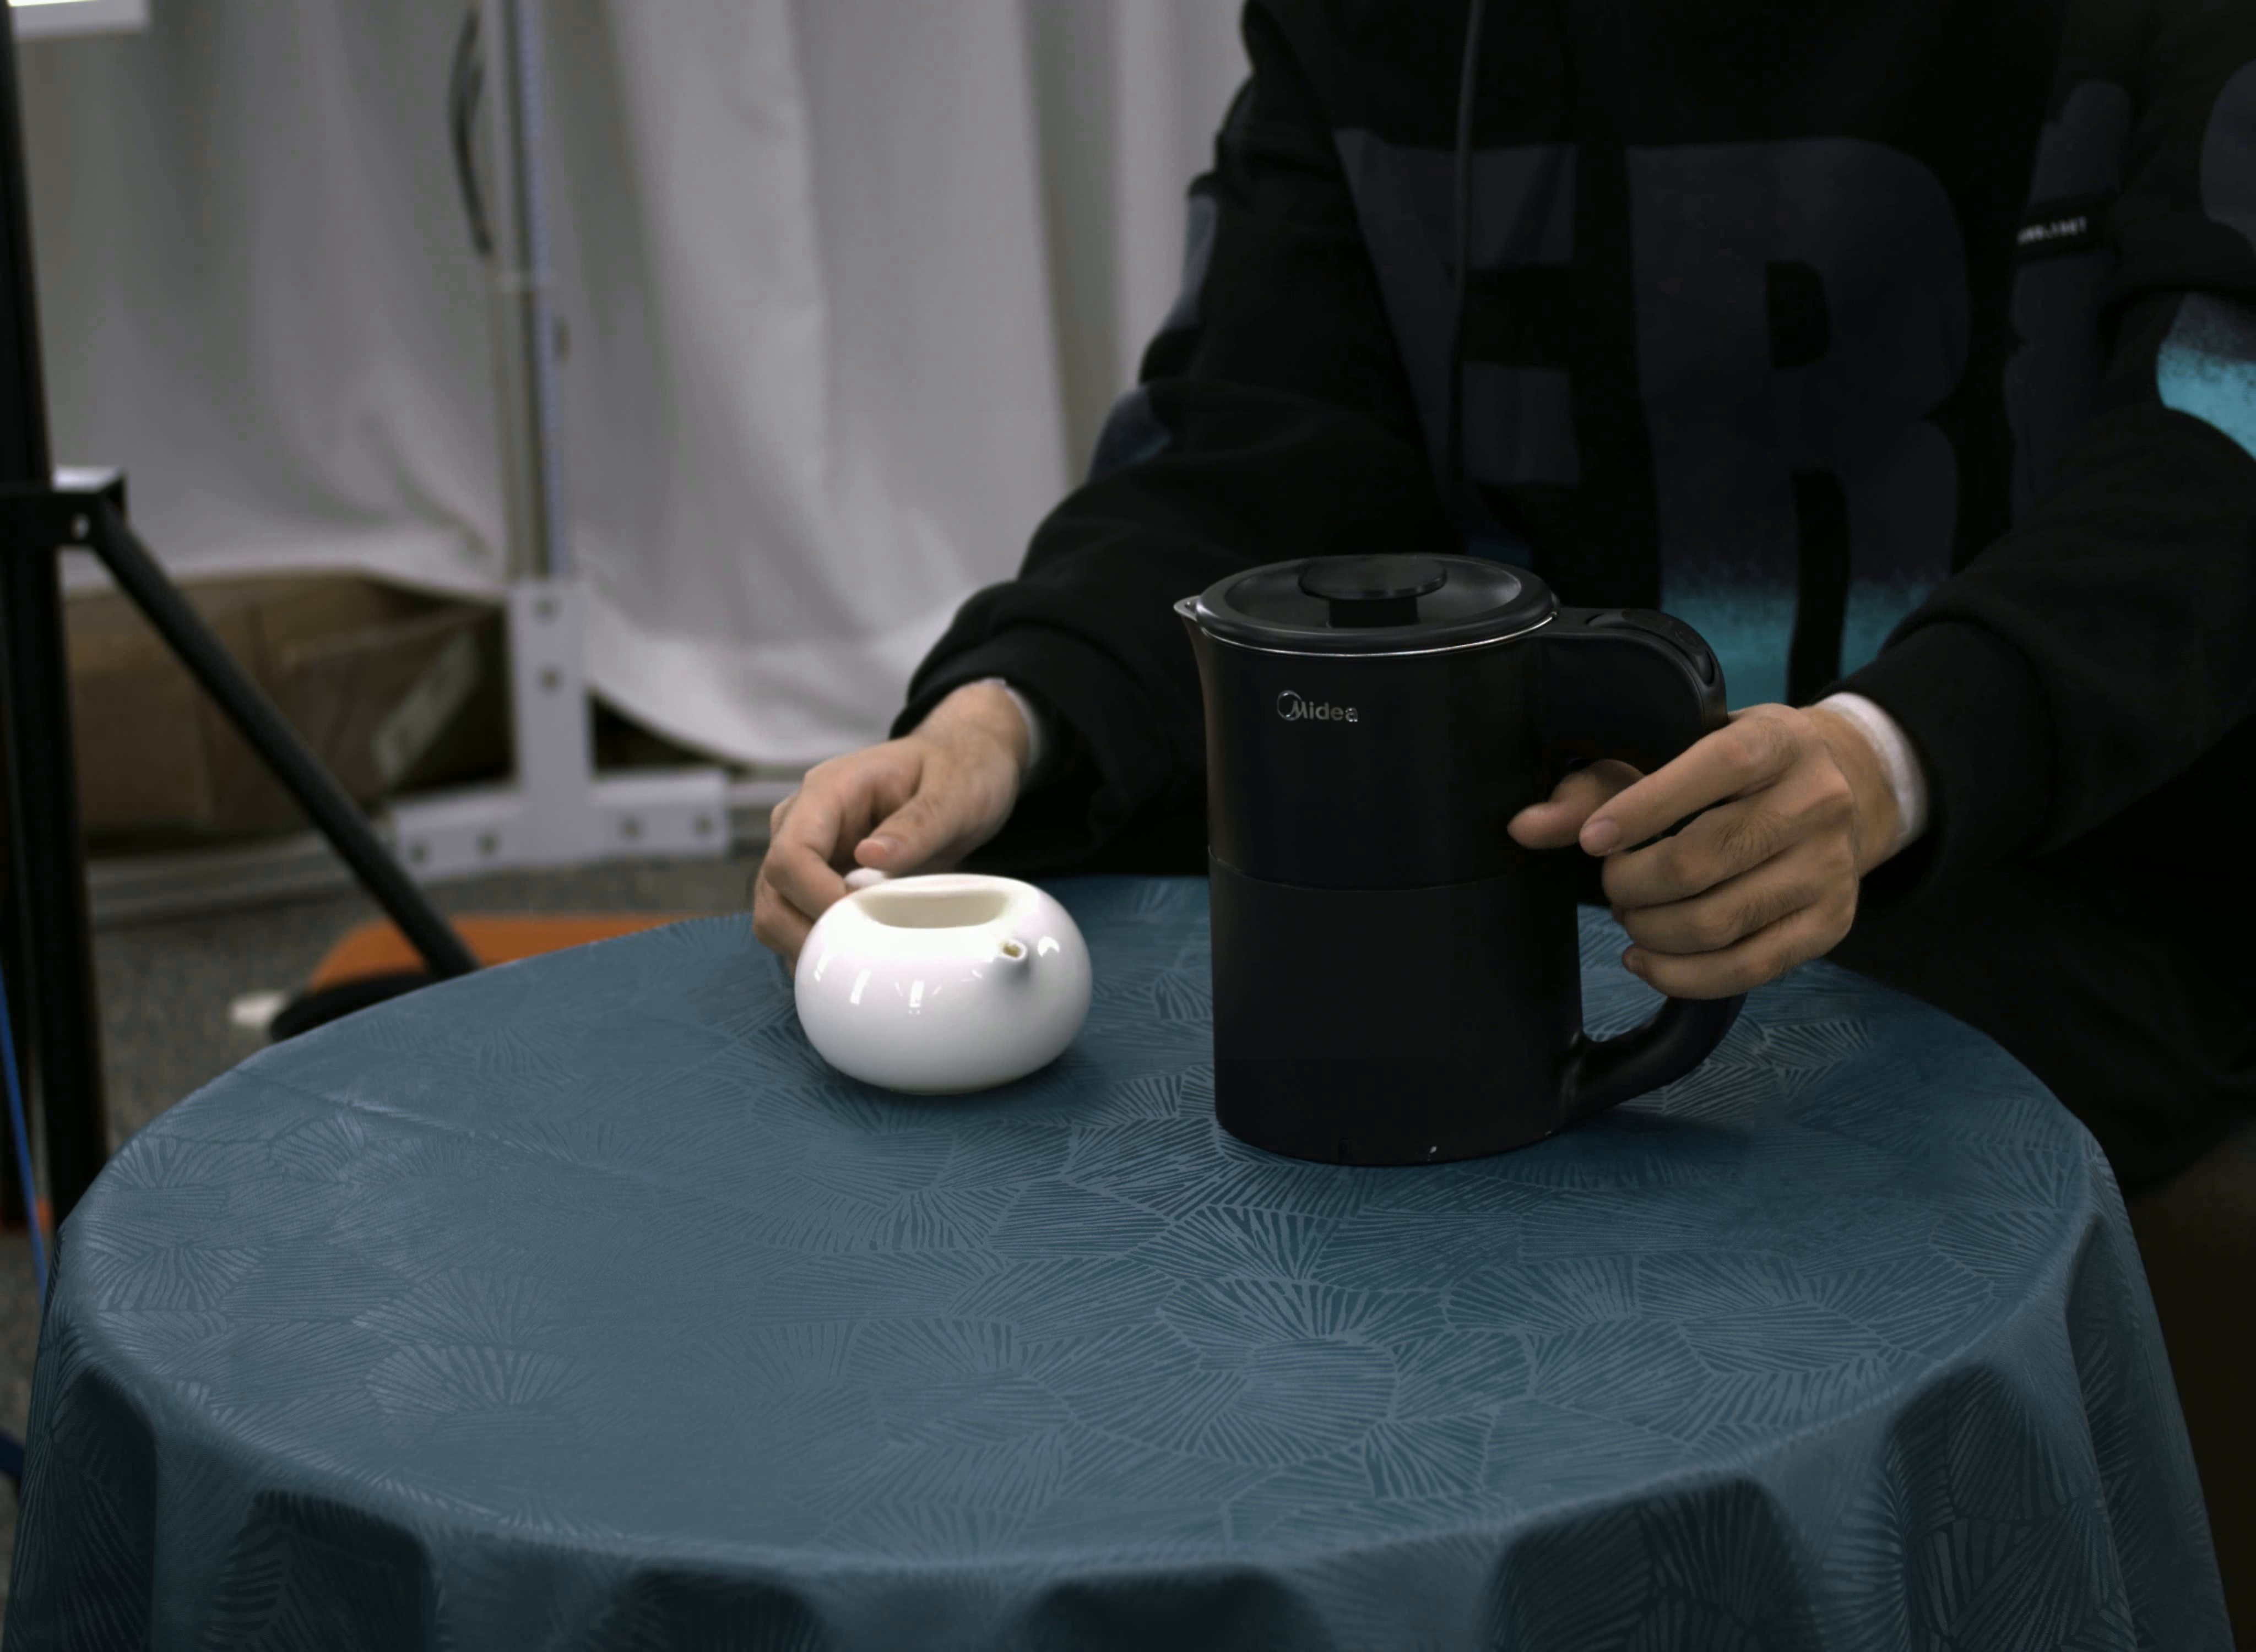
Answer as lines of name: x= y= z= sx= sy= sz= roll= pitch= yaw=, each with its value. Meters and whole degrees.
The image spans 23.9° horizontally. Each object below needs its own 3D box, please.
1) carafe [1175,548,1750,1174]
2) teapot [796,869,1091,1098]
carafe: x=0.099 y=0.006 z=1.590 sx=0.173 sy=0.173 sz=0.113 roll=1 pitch=14 yaw=20
teapot: x=-0.064 y=0.048 z=1.681 sx=0.091 sy=0.056 sz=0.130 roll=-18 pitch=21 yaw=-32
